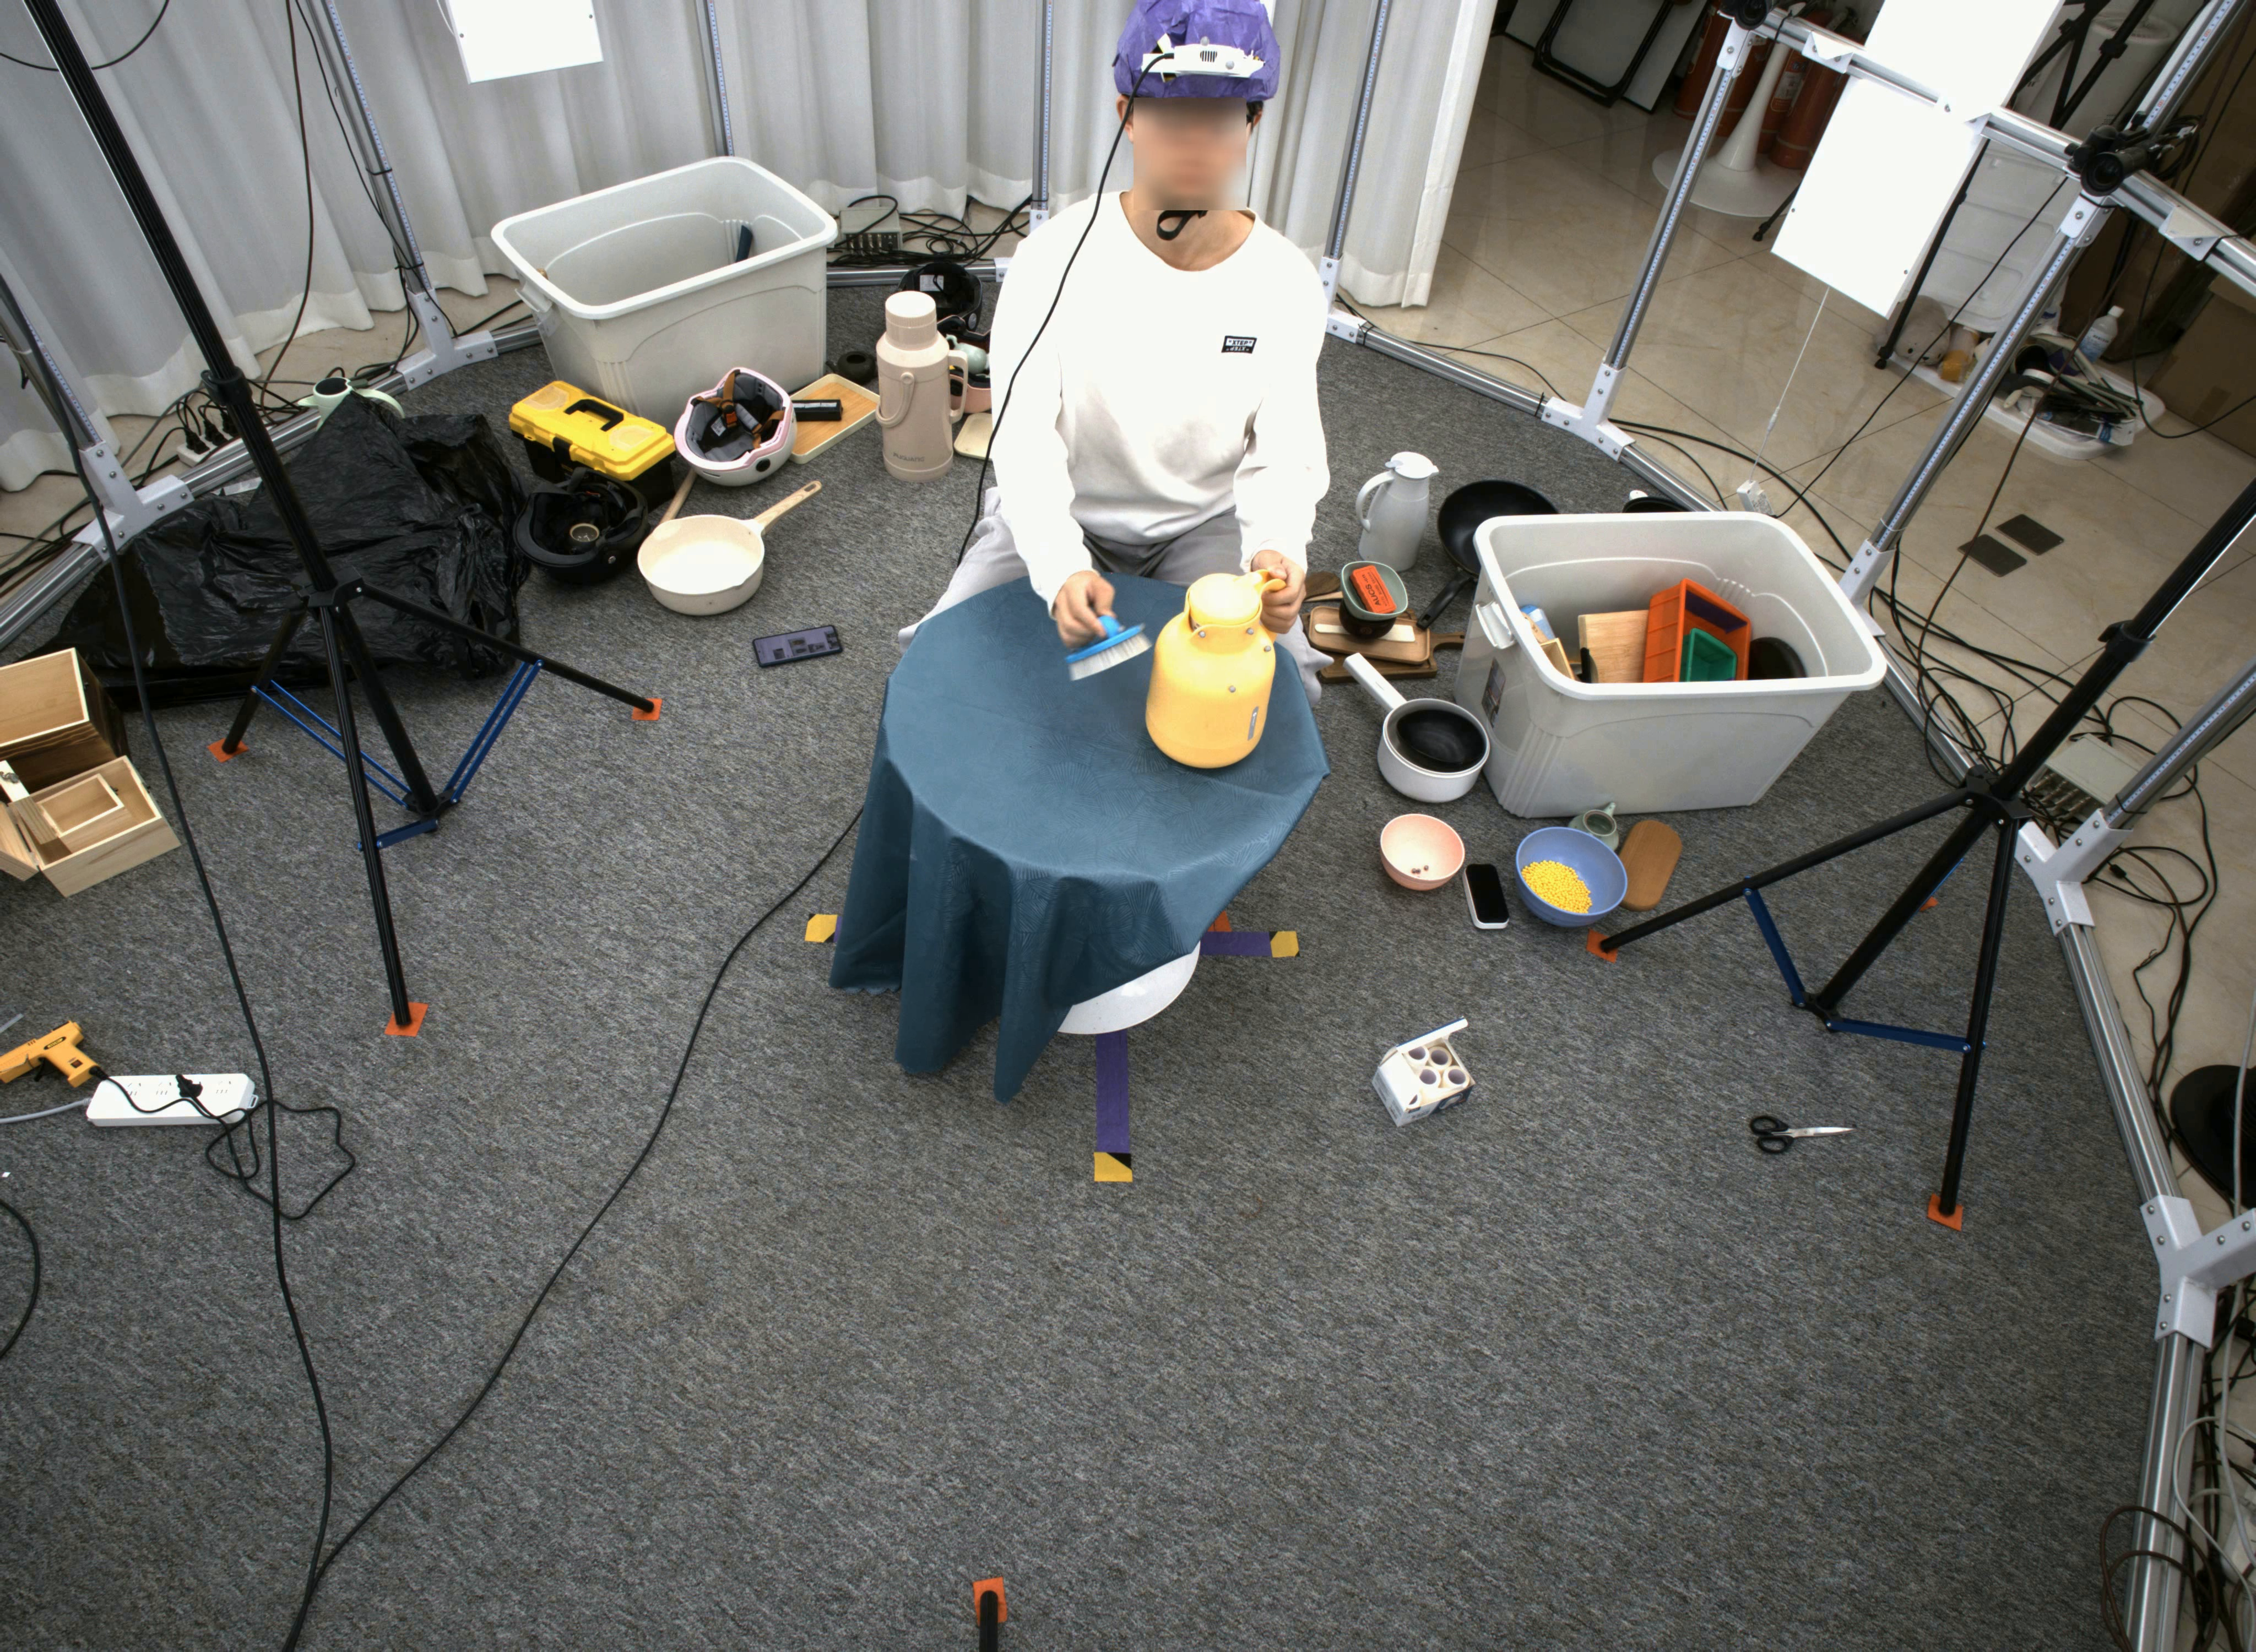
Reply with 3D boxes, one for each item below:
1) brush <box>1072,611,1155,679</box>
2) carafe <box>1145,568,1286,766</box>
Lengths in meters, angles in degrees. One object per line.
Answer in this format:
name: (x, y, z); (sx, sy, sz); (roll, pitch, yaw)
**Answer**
brush: (-0.029, -0.245, 1.681); (0.085, 0.142, 0.063); (-40, 104, -24)
carafe: (0.126, -0.220, 1.696); (0.204, 0.254, 0.166); (-35, 63, -28)
